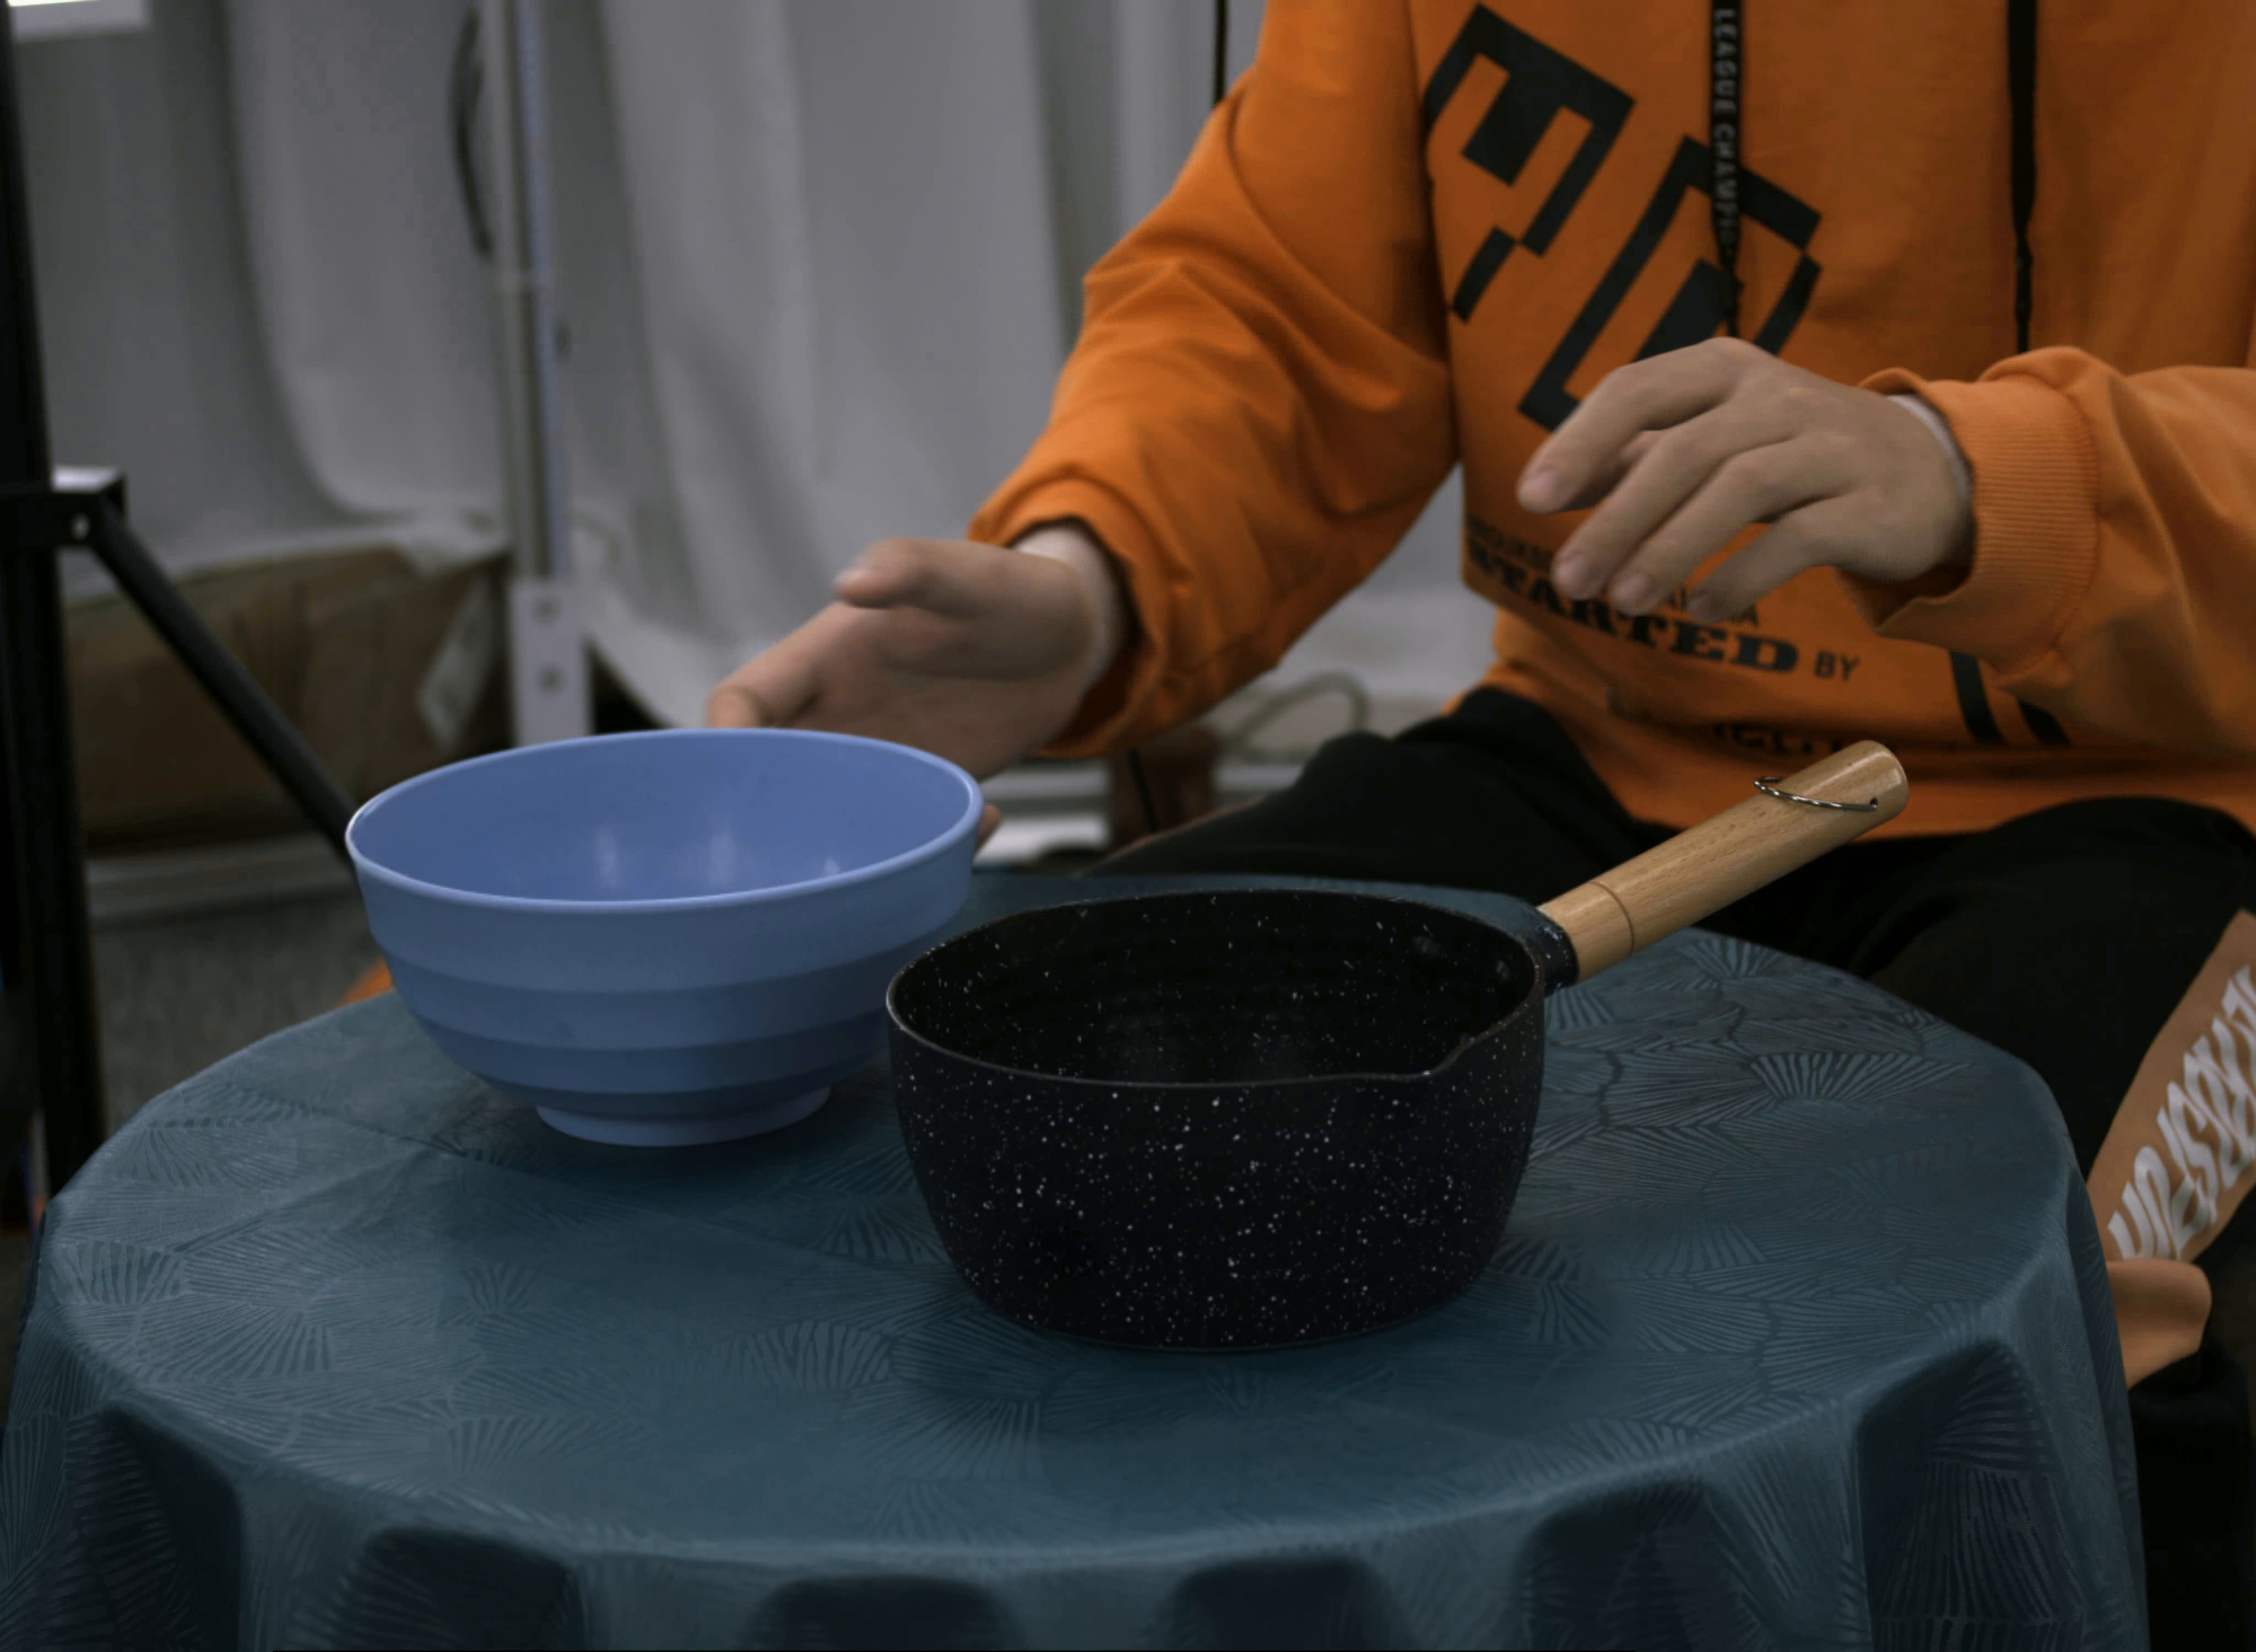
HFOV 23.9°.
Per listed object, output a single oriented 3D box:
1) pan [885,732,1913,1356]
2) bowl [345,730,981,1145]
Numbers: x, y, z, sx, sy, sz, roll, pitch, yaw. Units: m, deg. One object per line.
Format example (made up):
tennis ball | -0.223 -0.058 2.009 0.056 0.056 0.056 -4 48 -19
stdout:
pan | 0.091 0.057 1.524 0.335 0.108 0.212 -14 18 -31
bowl | -0.140 0.039 1.649 0.195 0.095 0.197 -4 15 0
